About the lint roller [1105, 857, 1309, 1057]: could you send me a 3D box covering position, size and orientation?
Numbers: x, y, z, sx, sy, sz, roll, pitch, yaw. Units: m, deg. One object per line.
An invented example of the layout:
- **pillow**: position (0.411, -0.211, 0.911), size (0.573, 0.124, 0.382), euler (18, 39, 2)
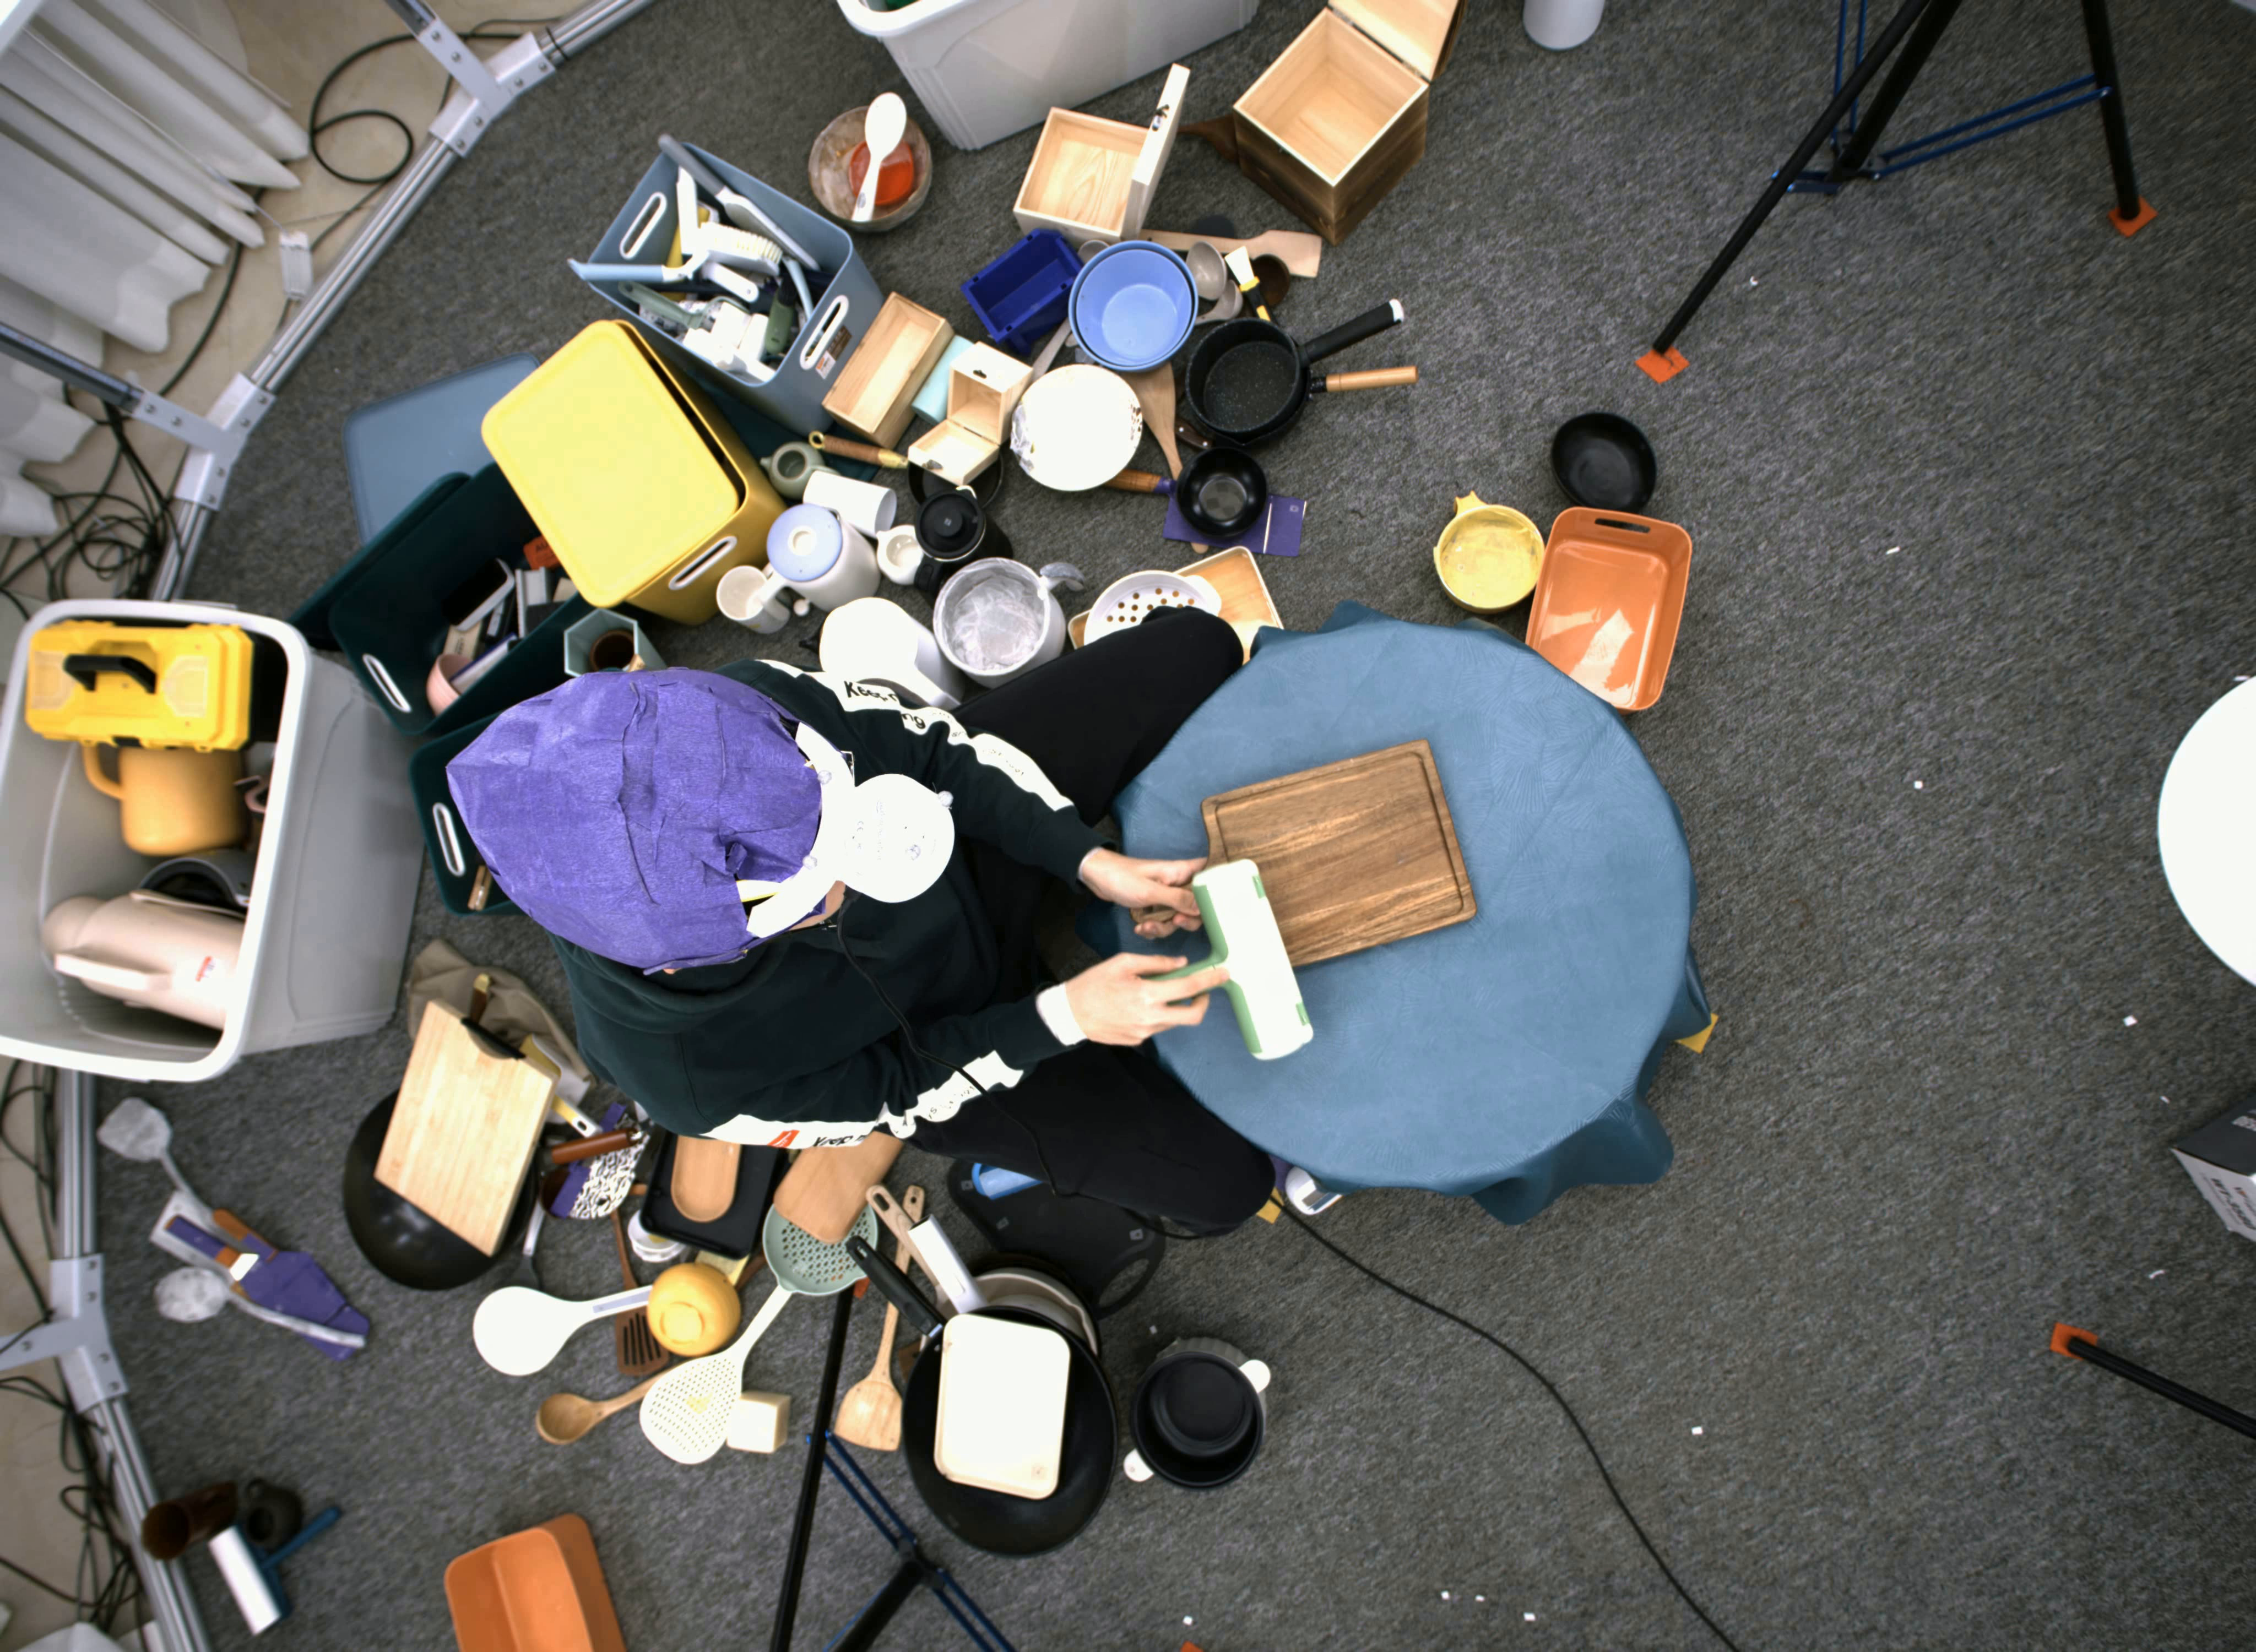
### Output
- **lint roller**: position (0.069, 0.150, 1.366), size (0.182, 0.082, 0.199), euler (-20, 96, -13)

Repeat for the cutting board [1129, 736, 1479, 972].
- **cutting board**: position (0.171, 0.046, 1.446), size (0.353, 0.023, 0.200), euler (-16, 87, 4)
